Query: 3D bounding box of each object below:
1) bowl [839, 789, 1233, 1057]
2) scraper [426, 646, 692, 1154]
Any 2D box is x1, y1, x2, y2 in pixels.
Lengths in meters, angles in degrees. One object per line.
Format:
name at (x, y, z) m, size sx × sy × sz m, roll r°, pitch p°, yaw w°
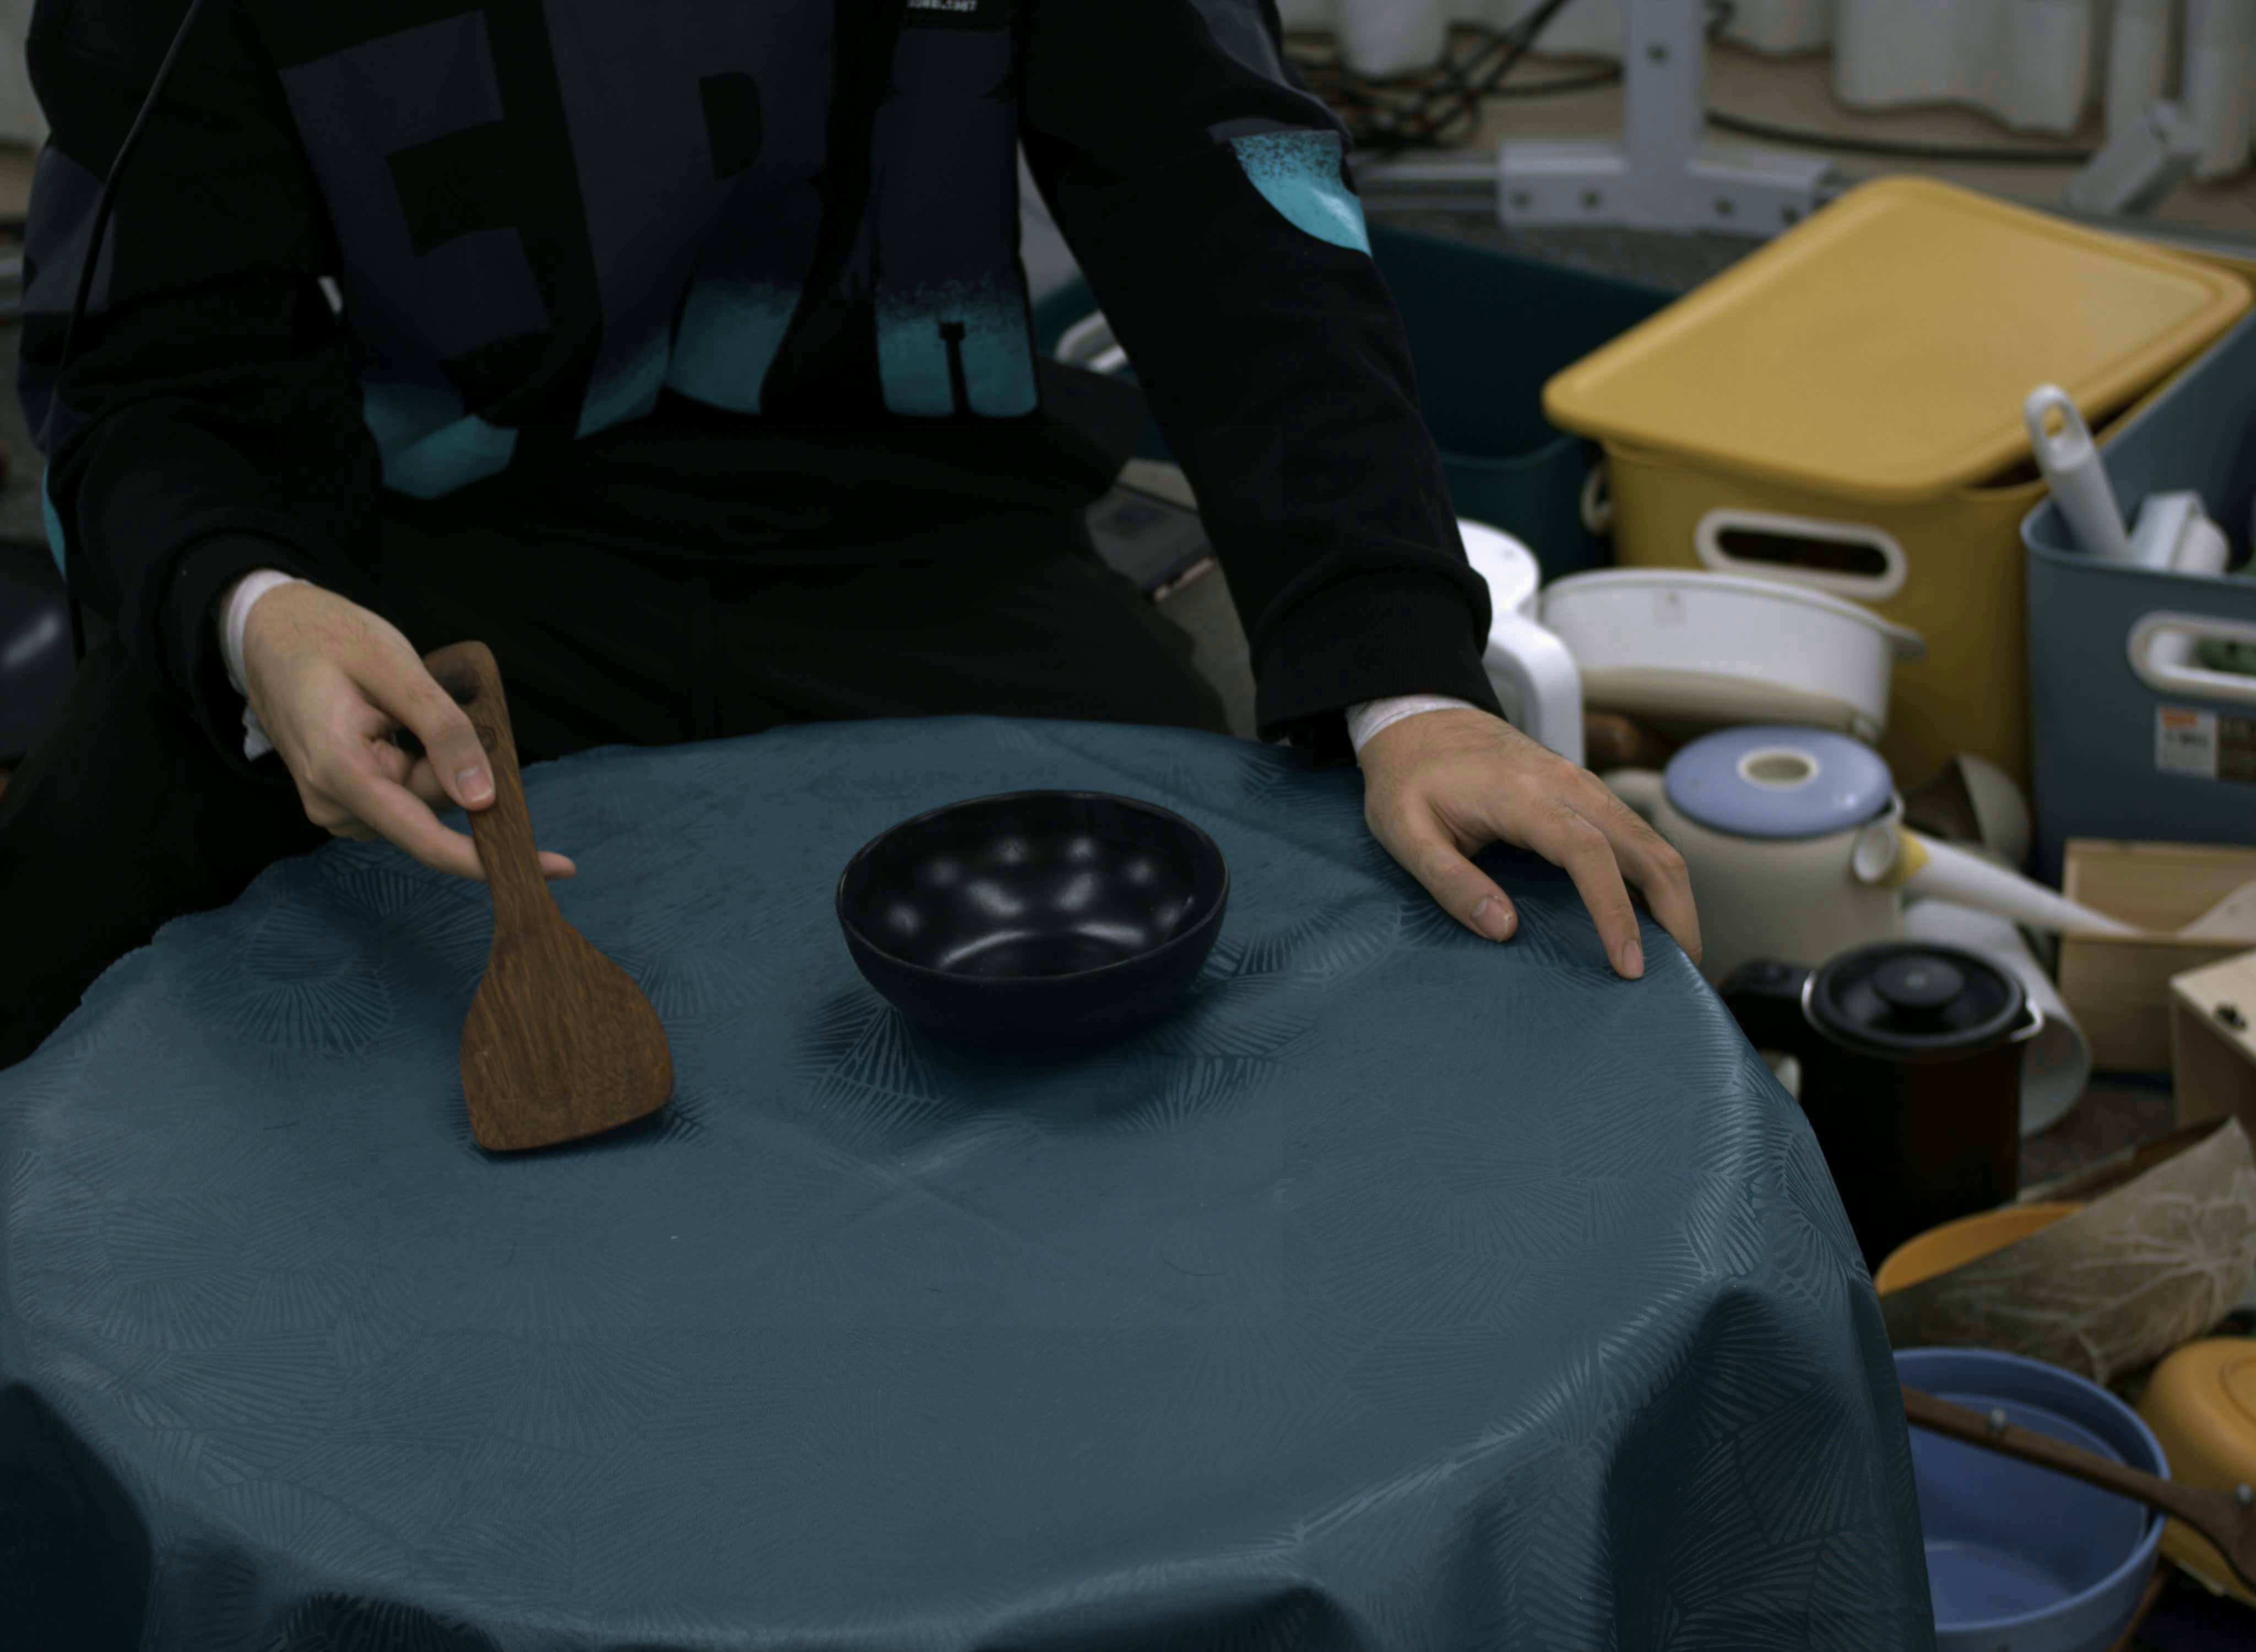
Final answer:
bowl at (-0.030, 0.042, 1.967) m, size 0.139 × 0.049 × 0.142 m, roll -5°, pitch 28°, yaw 3°
scraper at (-0.210, 0.023, 1.955) m, size 0.076 × 0.010 × 0.214 m, roll -14°, pitch 57°, yaw -8°
